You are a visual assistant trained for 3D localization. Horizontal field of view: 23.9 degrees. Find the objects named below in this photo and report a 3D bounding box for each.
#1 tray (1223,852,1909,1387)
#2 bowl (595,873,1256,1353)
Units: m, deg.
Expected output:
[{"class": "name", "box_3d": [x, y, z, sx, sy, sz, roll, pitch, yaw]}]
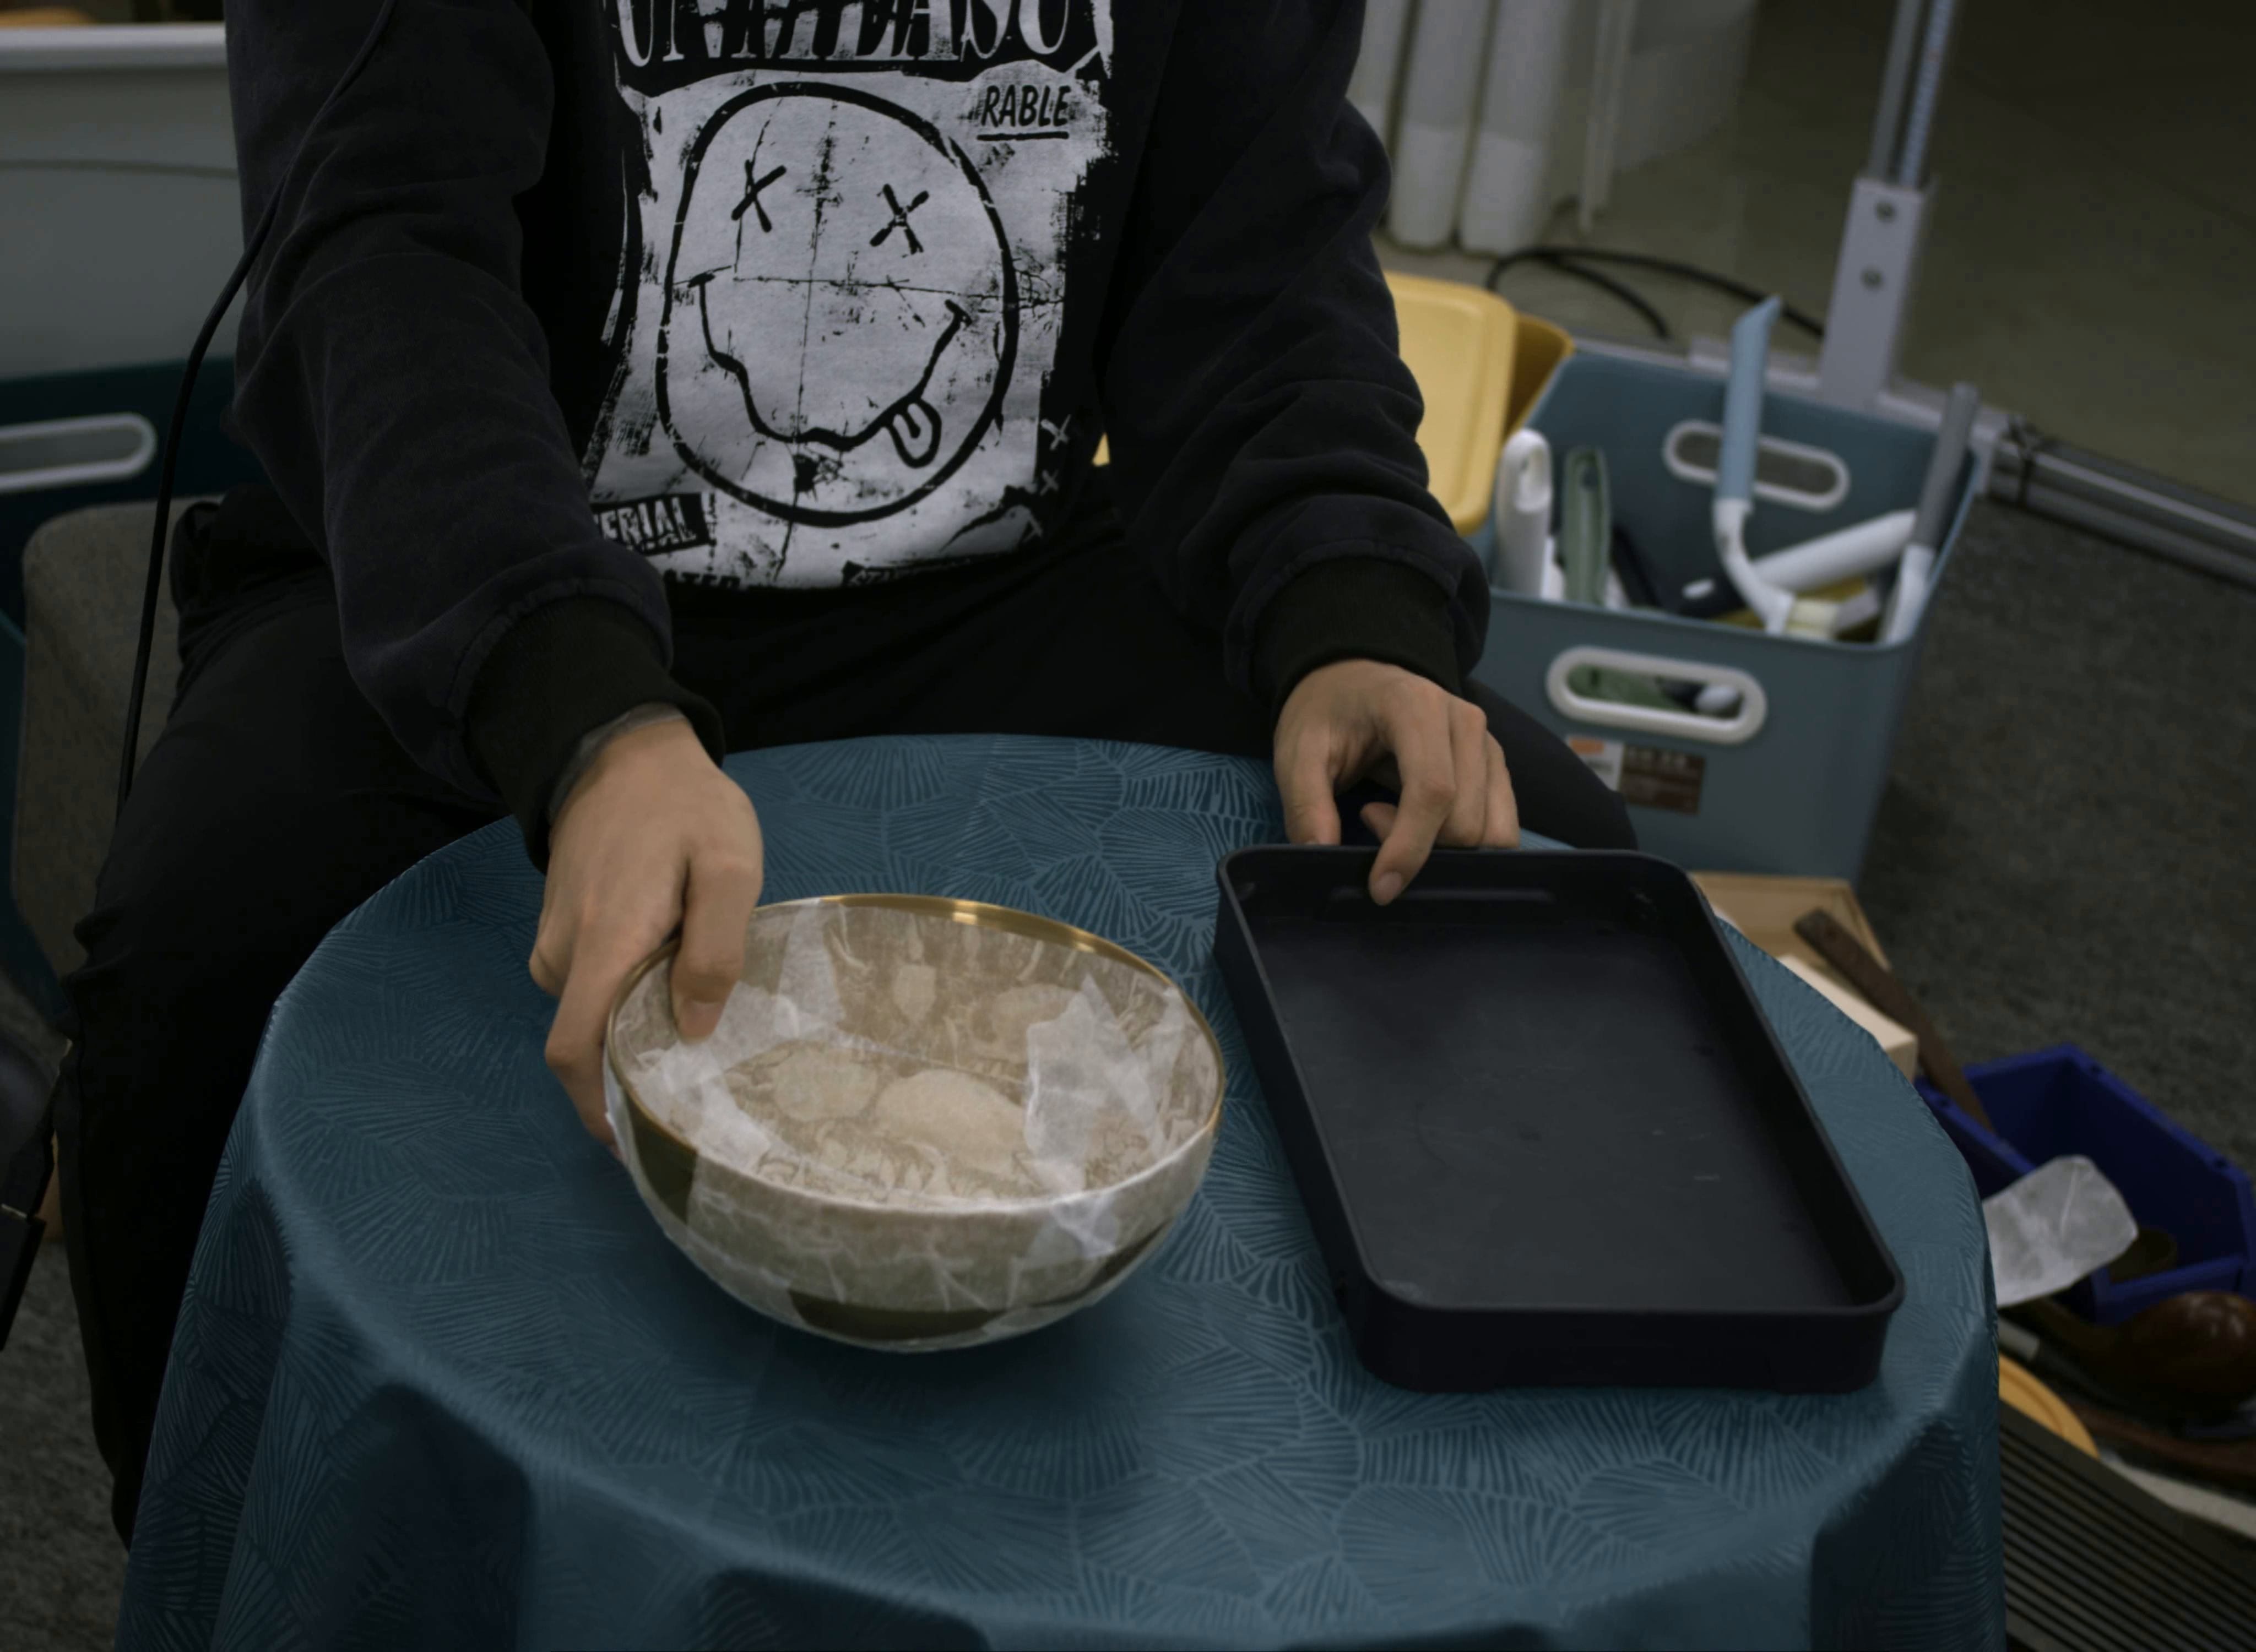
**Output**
[{"class": "tray", "box_3d": [0.143, 0.096, 1.844, 0.183, 0.037, 0.320, 1, 26, -9]}, {"class": "bowl", "box_3d": [-0.070, 0.106, 1.717, 0.214, 0.094, 0.216, 3, 28, -2]}]
